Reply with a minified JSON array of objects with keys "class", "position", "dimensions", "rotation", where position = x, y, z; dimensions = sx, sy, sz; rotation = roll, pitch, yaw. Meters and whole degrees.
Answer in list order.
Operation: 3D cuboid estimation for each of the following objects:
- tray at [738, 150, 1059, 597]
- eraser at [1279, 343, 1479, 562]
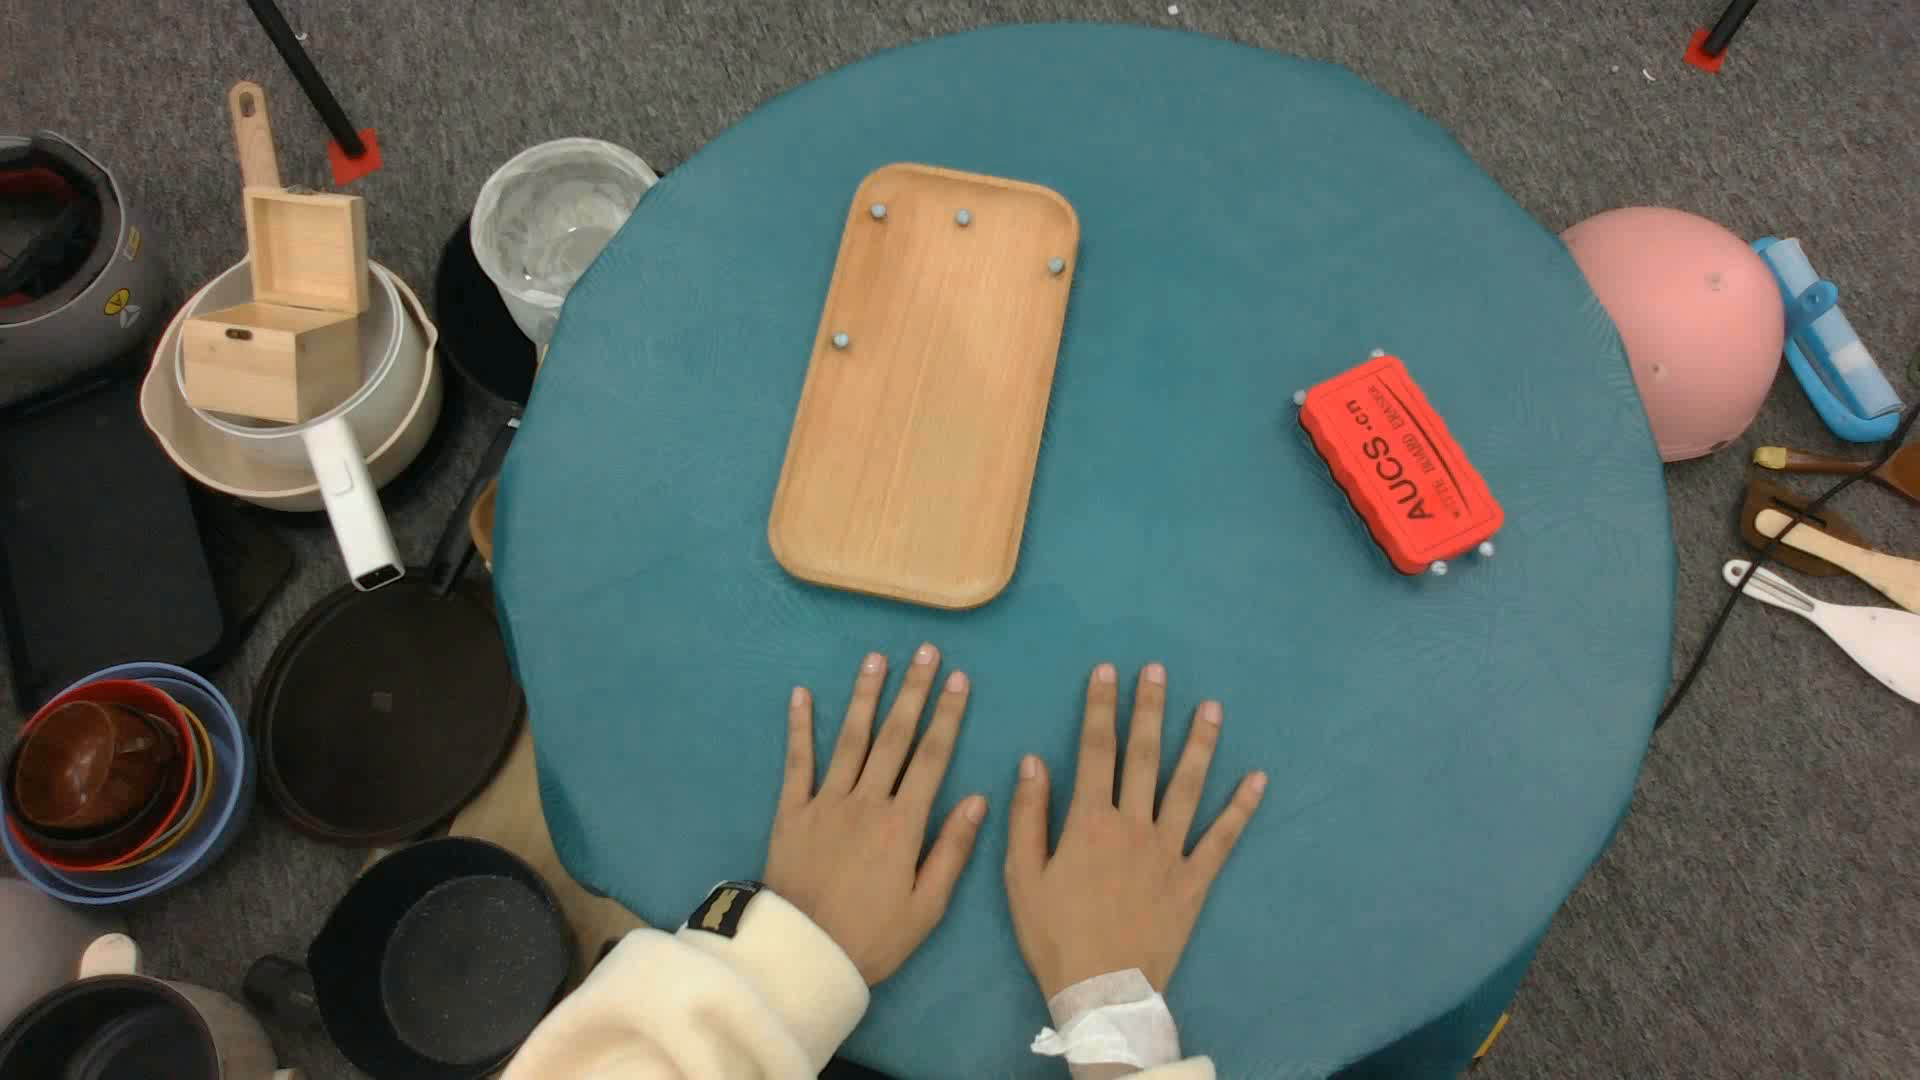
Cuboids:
[{"class":"tray","position":[-0.028,-0.093,0.724],"dimensions":[0.130,0.023,0.251],"rotation":[11,70,6]},{"class":"eraser","position":[0.214,-0.046,0.709],"dimensions":[0.059,0.023,0.108],"rotation":[-24,71,-11]}]
